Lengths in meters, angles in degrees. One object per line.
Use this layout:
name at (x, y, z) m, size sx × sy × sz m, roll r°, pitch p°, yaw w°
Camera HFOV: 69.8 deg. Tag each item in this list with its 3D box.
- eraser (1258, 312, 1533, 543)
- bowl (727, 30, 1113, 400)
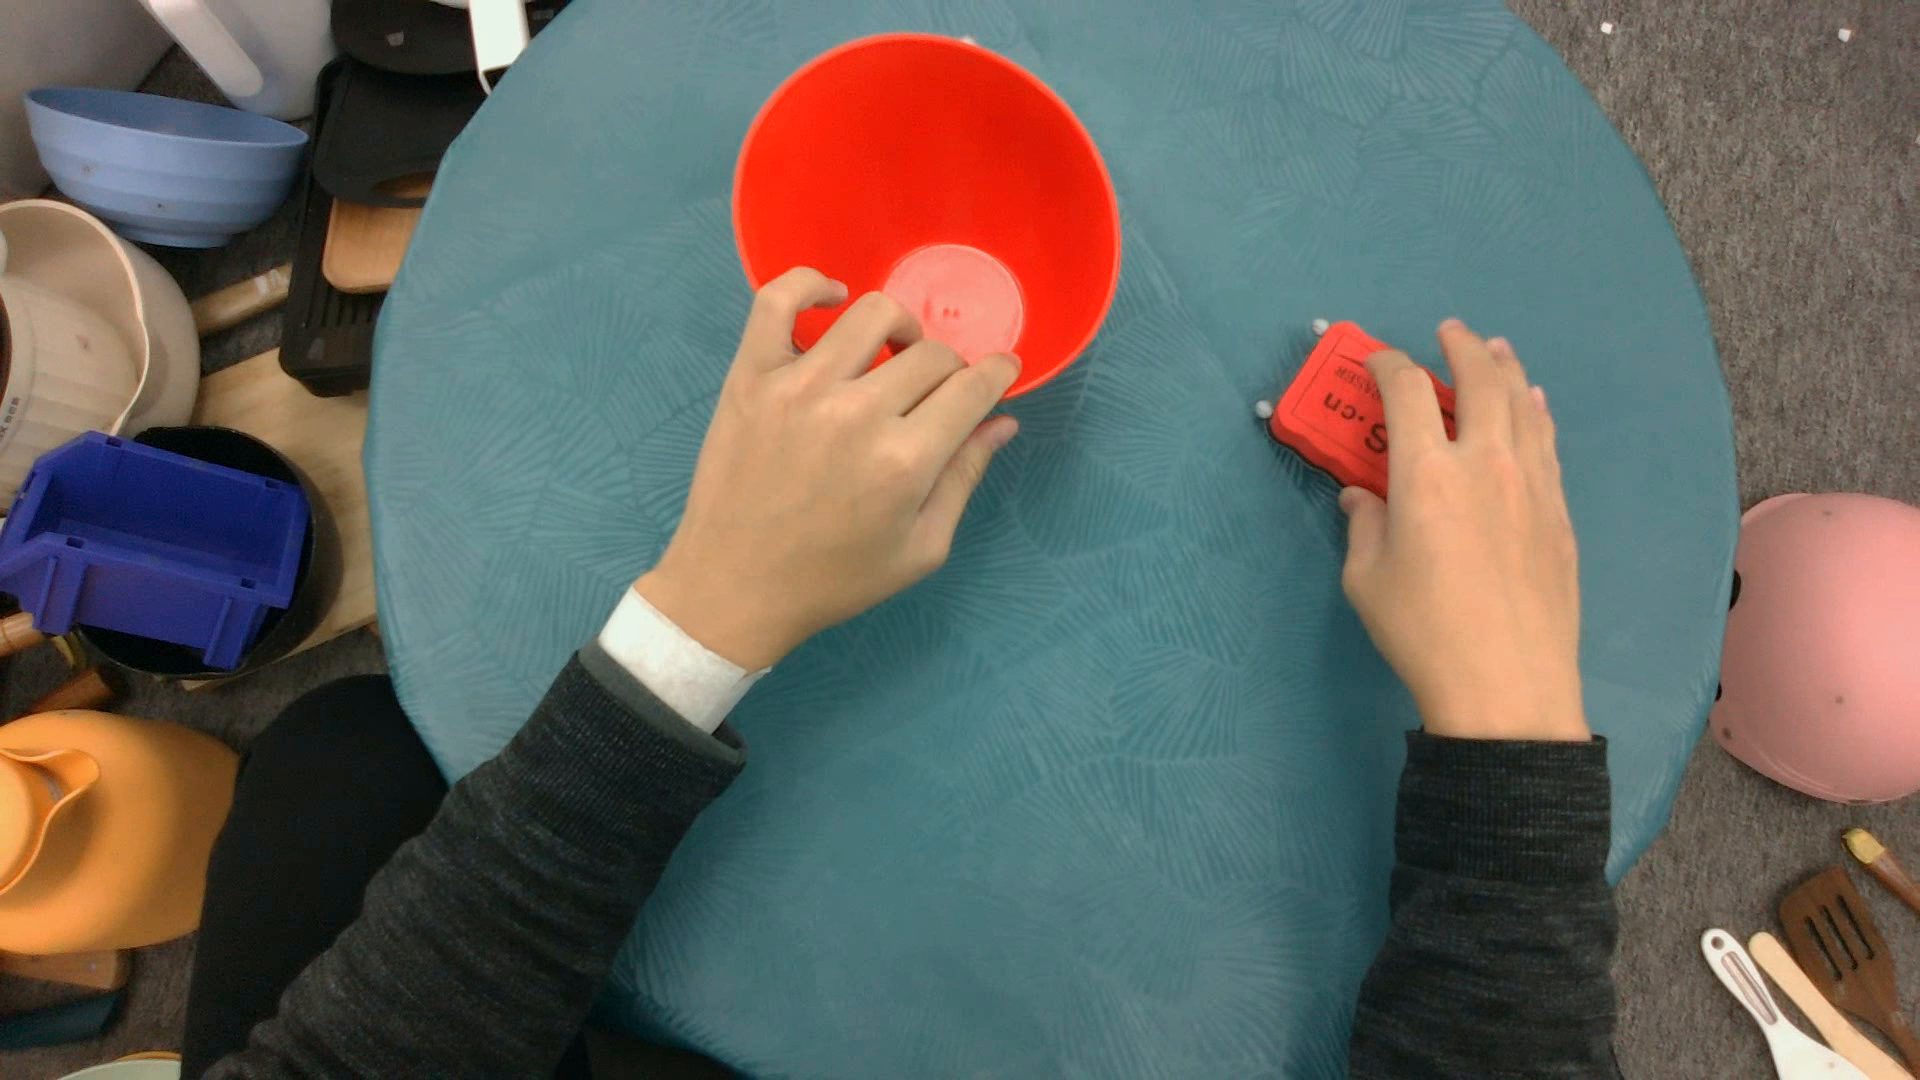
eraser at (0.188, -0.049, 0.598) m, size 0.108 × 0.023 × 0.059 m, roll 33°, pitch 75°, yaw 5°
bowl at (-0.015, -0.117, 0.562) m, size 0.148 × 0.104 × 0.148 m, roll 1°, pitch 77°, yaw -4°
